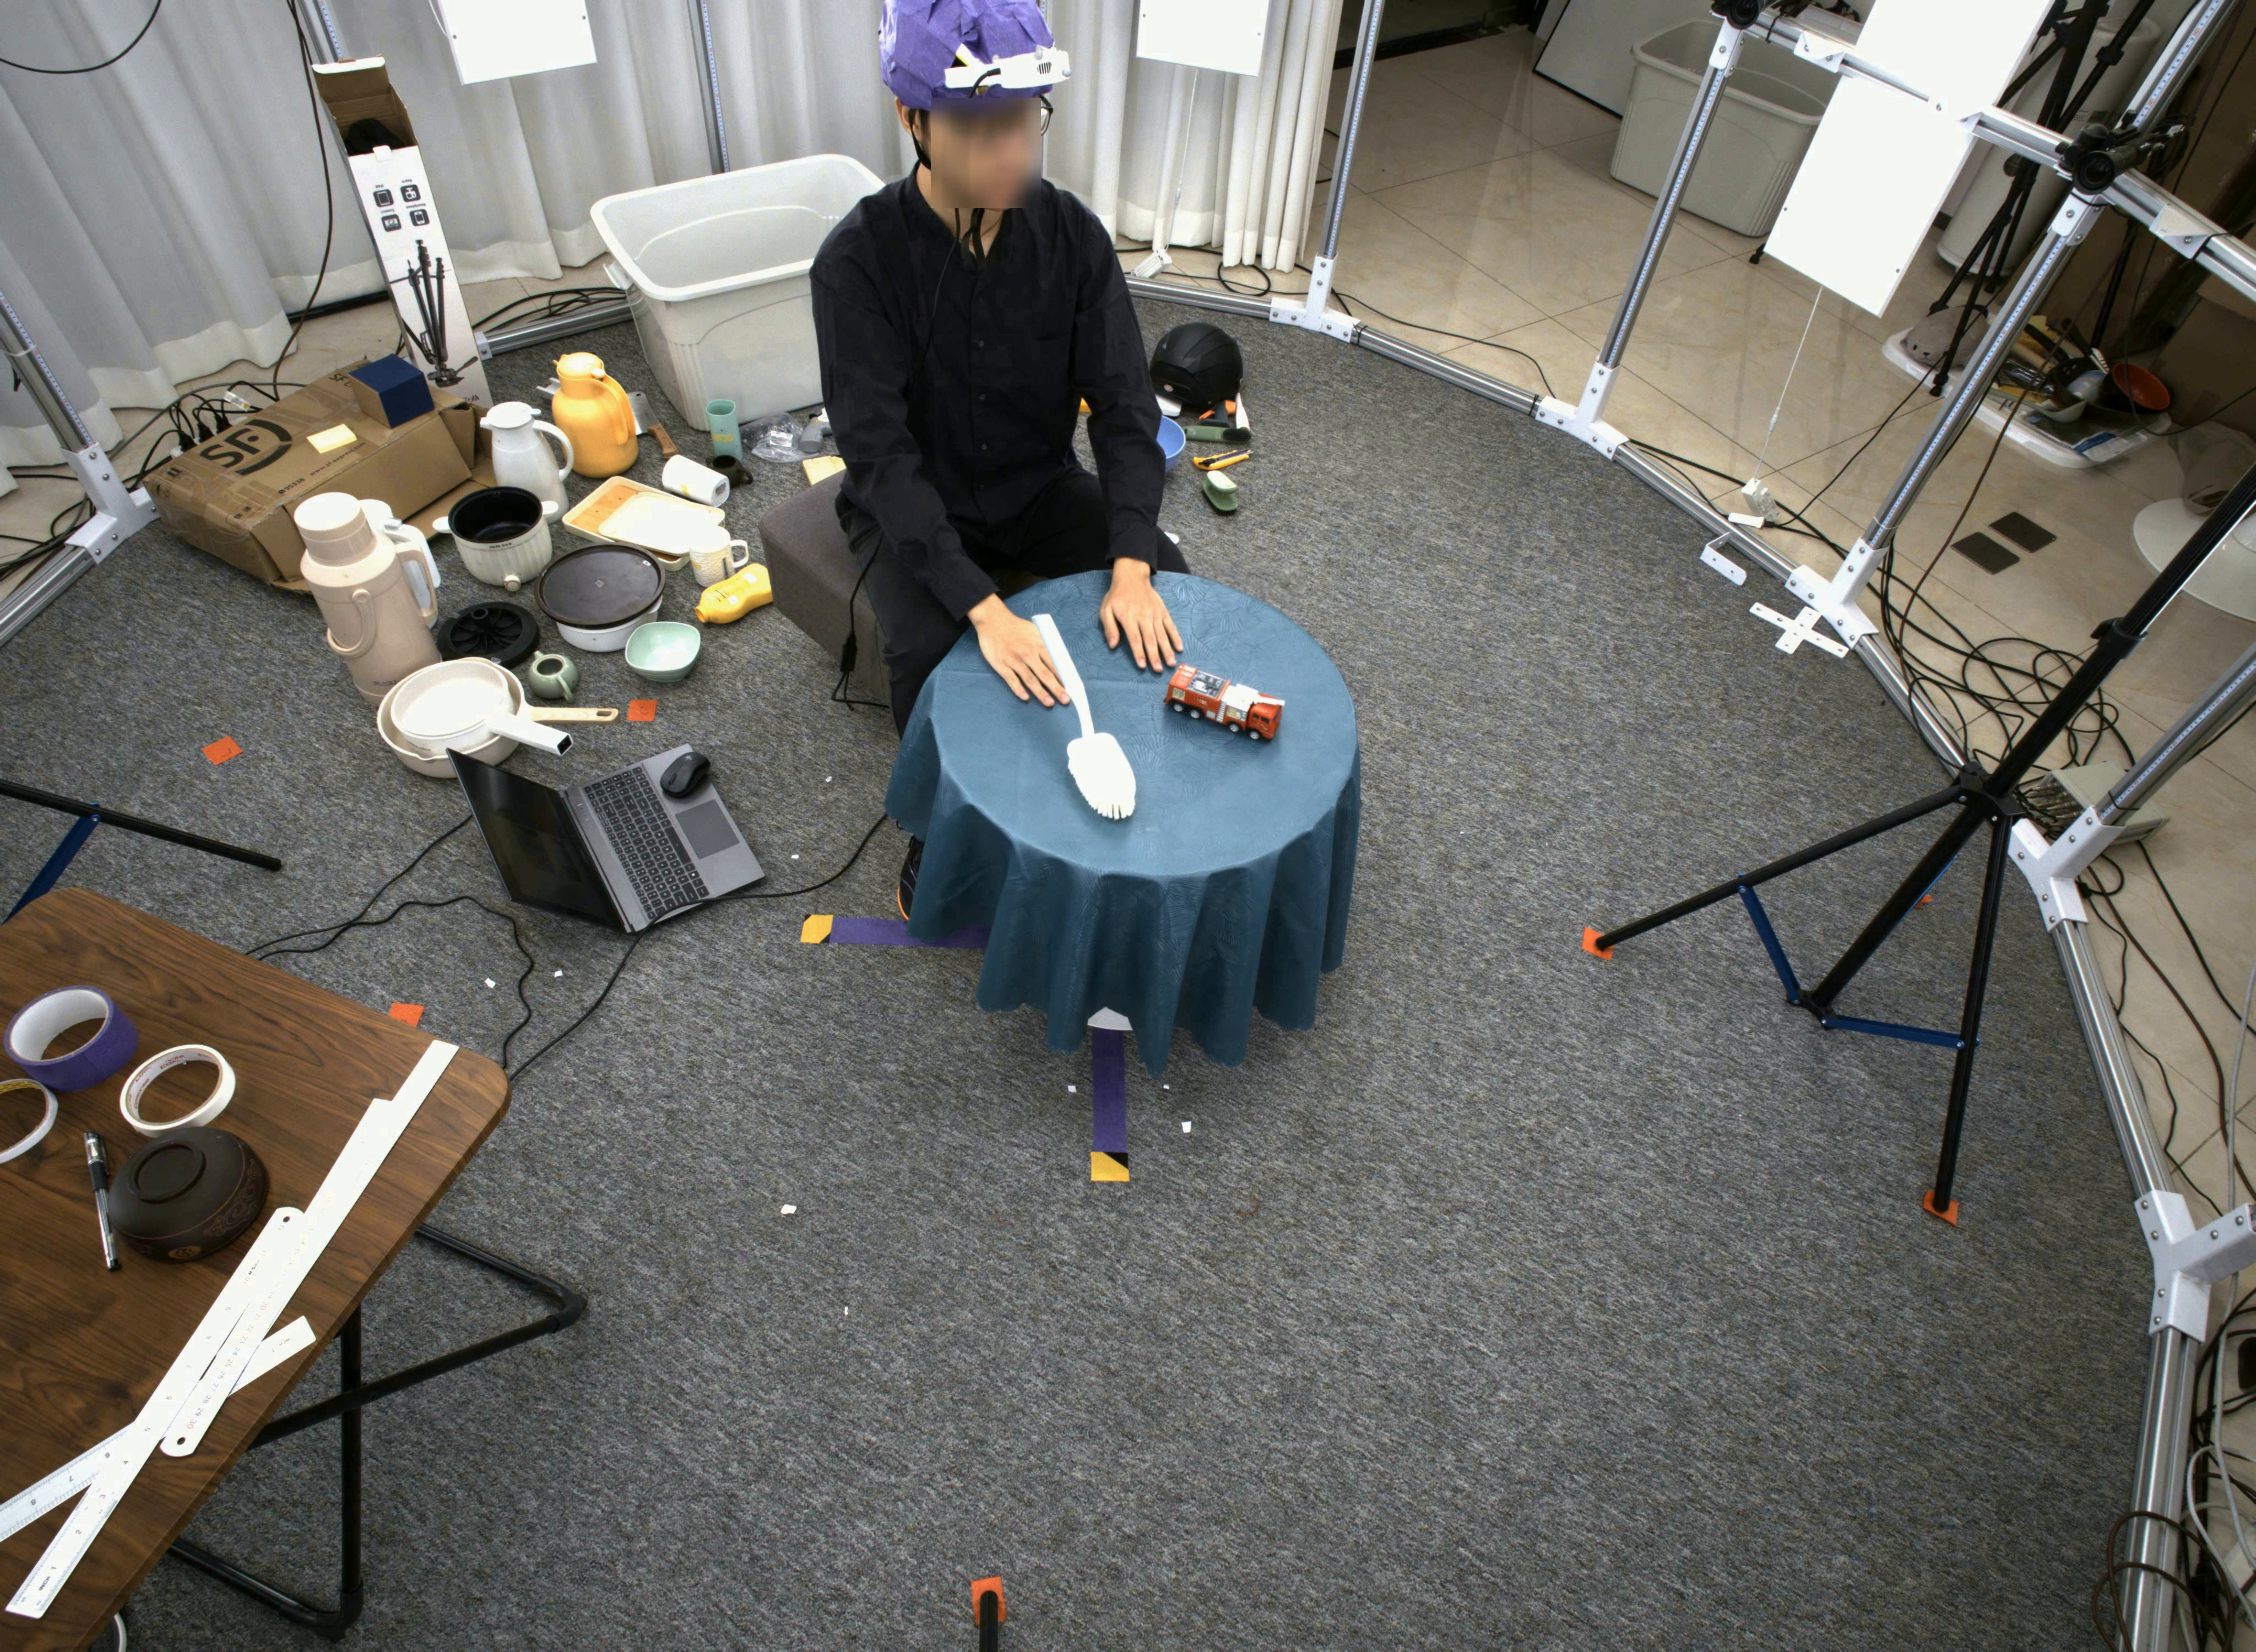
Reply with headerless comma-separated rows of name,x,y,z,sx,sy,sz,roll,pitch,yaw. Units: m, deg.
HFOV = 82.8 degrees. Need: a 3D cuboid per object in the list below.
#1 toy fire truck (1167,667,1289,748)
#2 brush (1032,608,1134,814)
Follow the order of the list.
toy fire truck,0.140,-0.167,1.785,0.169,0.068,0.055,20,50,13
brush,-0.065,-0.153,1.743,0.082,0.083,0.332,8,50,-49
